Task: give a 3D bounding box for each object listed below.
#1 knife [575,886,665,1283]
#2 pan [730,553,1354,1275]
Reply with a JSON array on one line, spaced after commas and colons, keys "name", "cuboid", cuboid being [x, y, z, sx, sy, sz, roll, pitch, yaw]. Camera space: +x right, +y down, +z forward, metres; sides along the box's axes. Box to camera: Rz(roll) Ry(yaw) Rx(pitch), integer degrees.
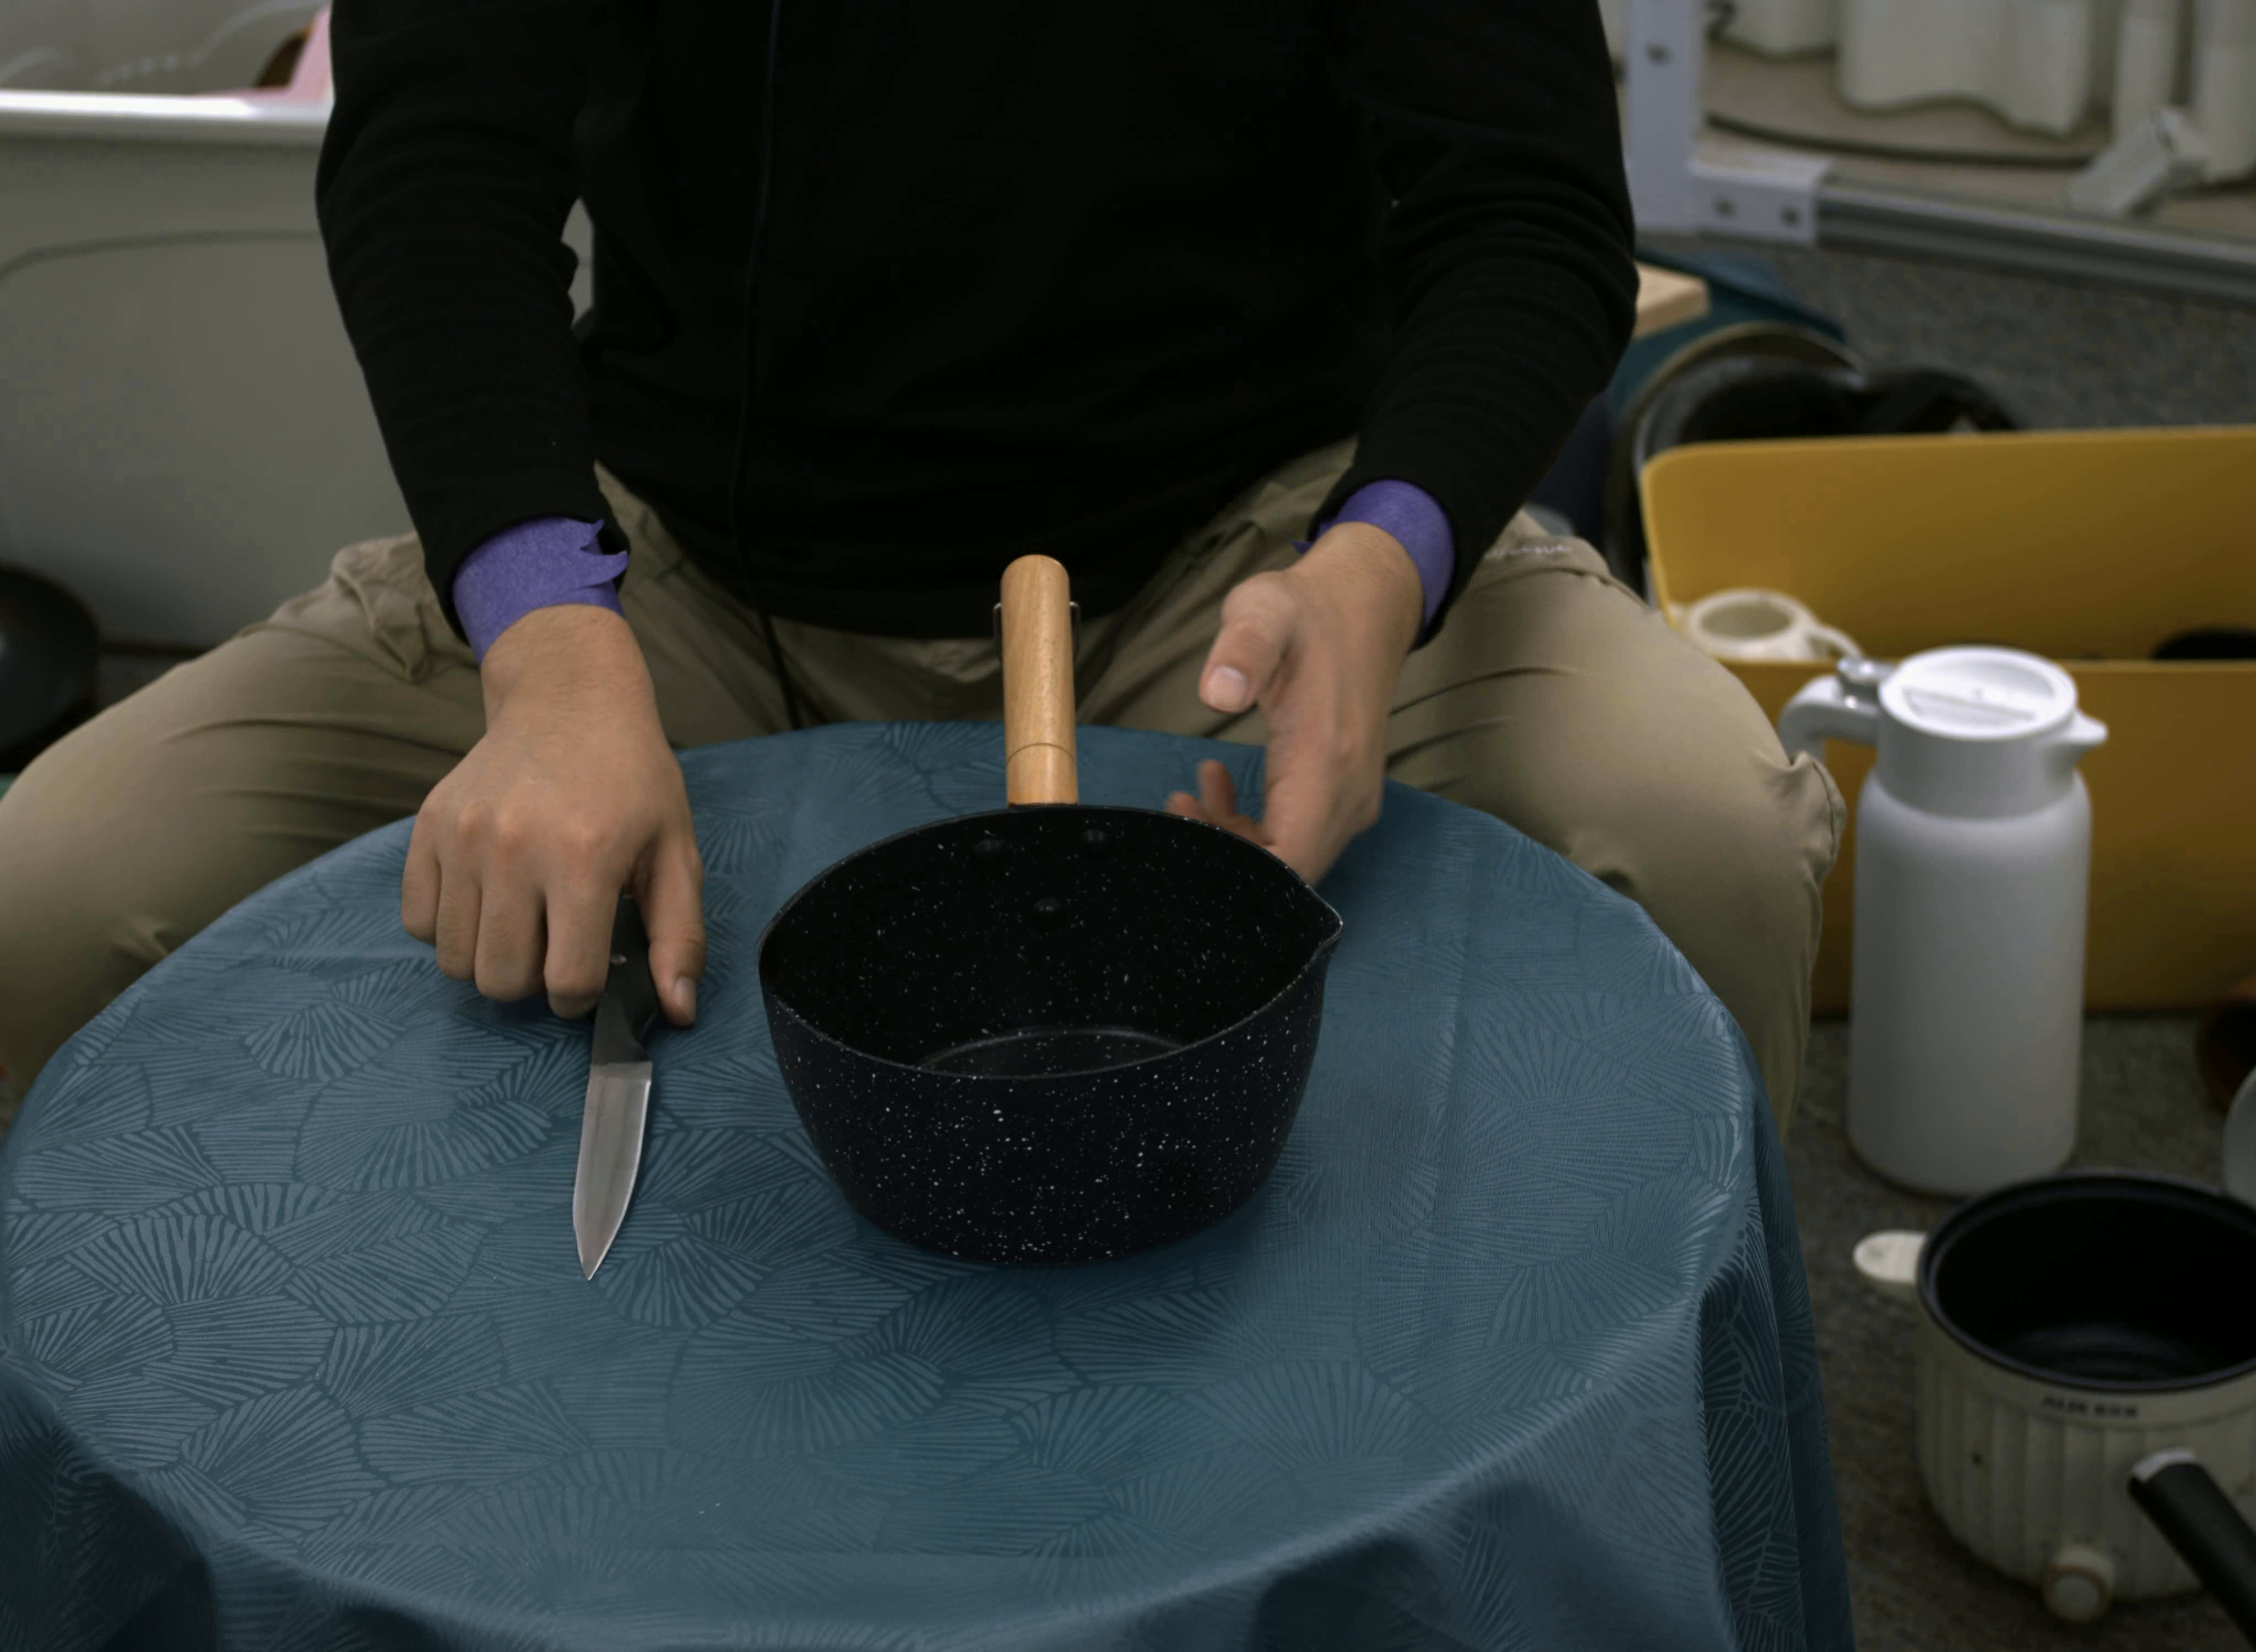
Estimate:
[{"name": "knife", "cuboid": [-0.176, 0.088, 1.927, 0.024, 0.016, 0.242, -3, 30, 1]}, {"name": "pan", "cuboid": [-0.030, 0.027, 1.932, 0.206, 0.107, 0.348, -4, 28, 0]}]
